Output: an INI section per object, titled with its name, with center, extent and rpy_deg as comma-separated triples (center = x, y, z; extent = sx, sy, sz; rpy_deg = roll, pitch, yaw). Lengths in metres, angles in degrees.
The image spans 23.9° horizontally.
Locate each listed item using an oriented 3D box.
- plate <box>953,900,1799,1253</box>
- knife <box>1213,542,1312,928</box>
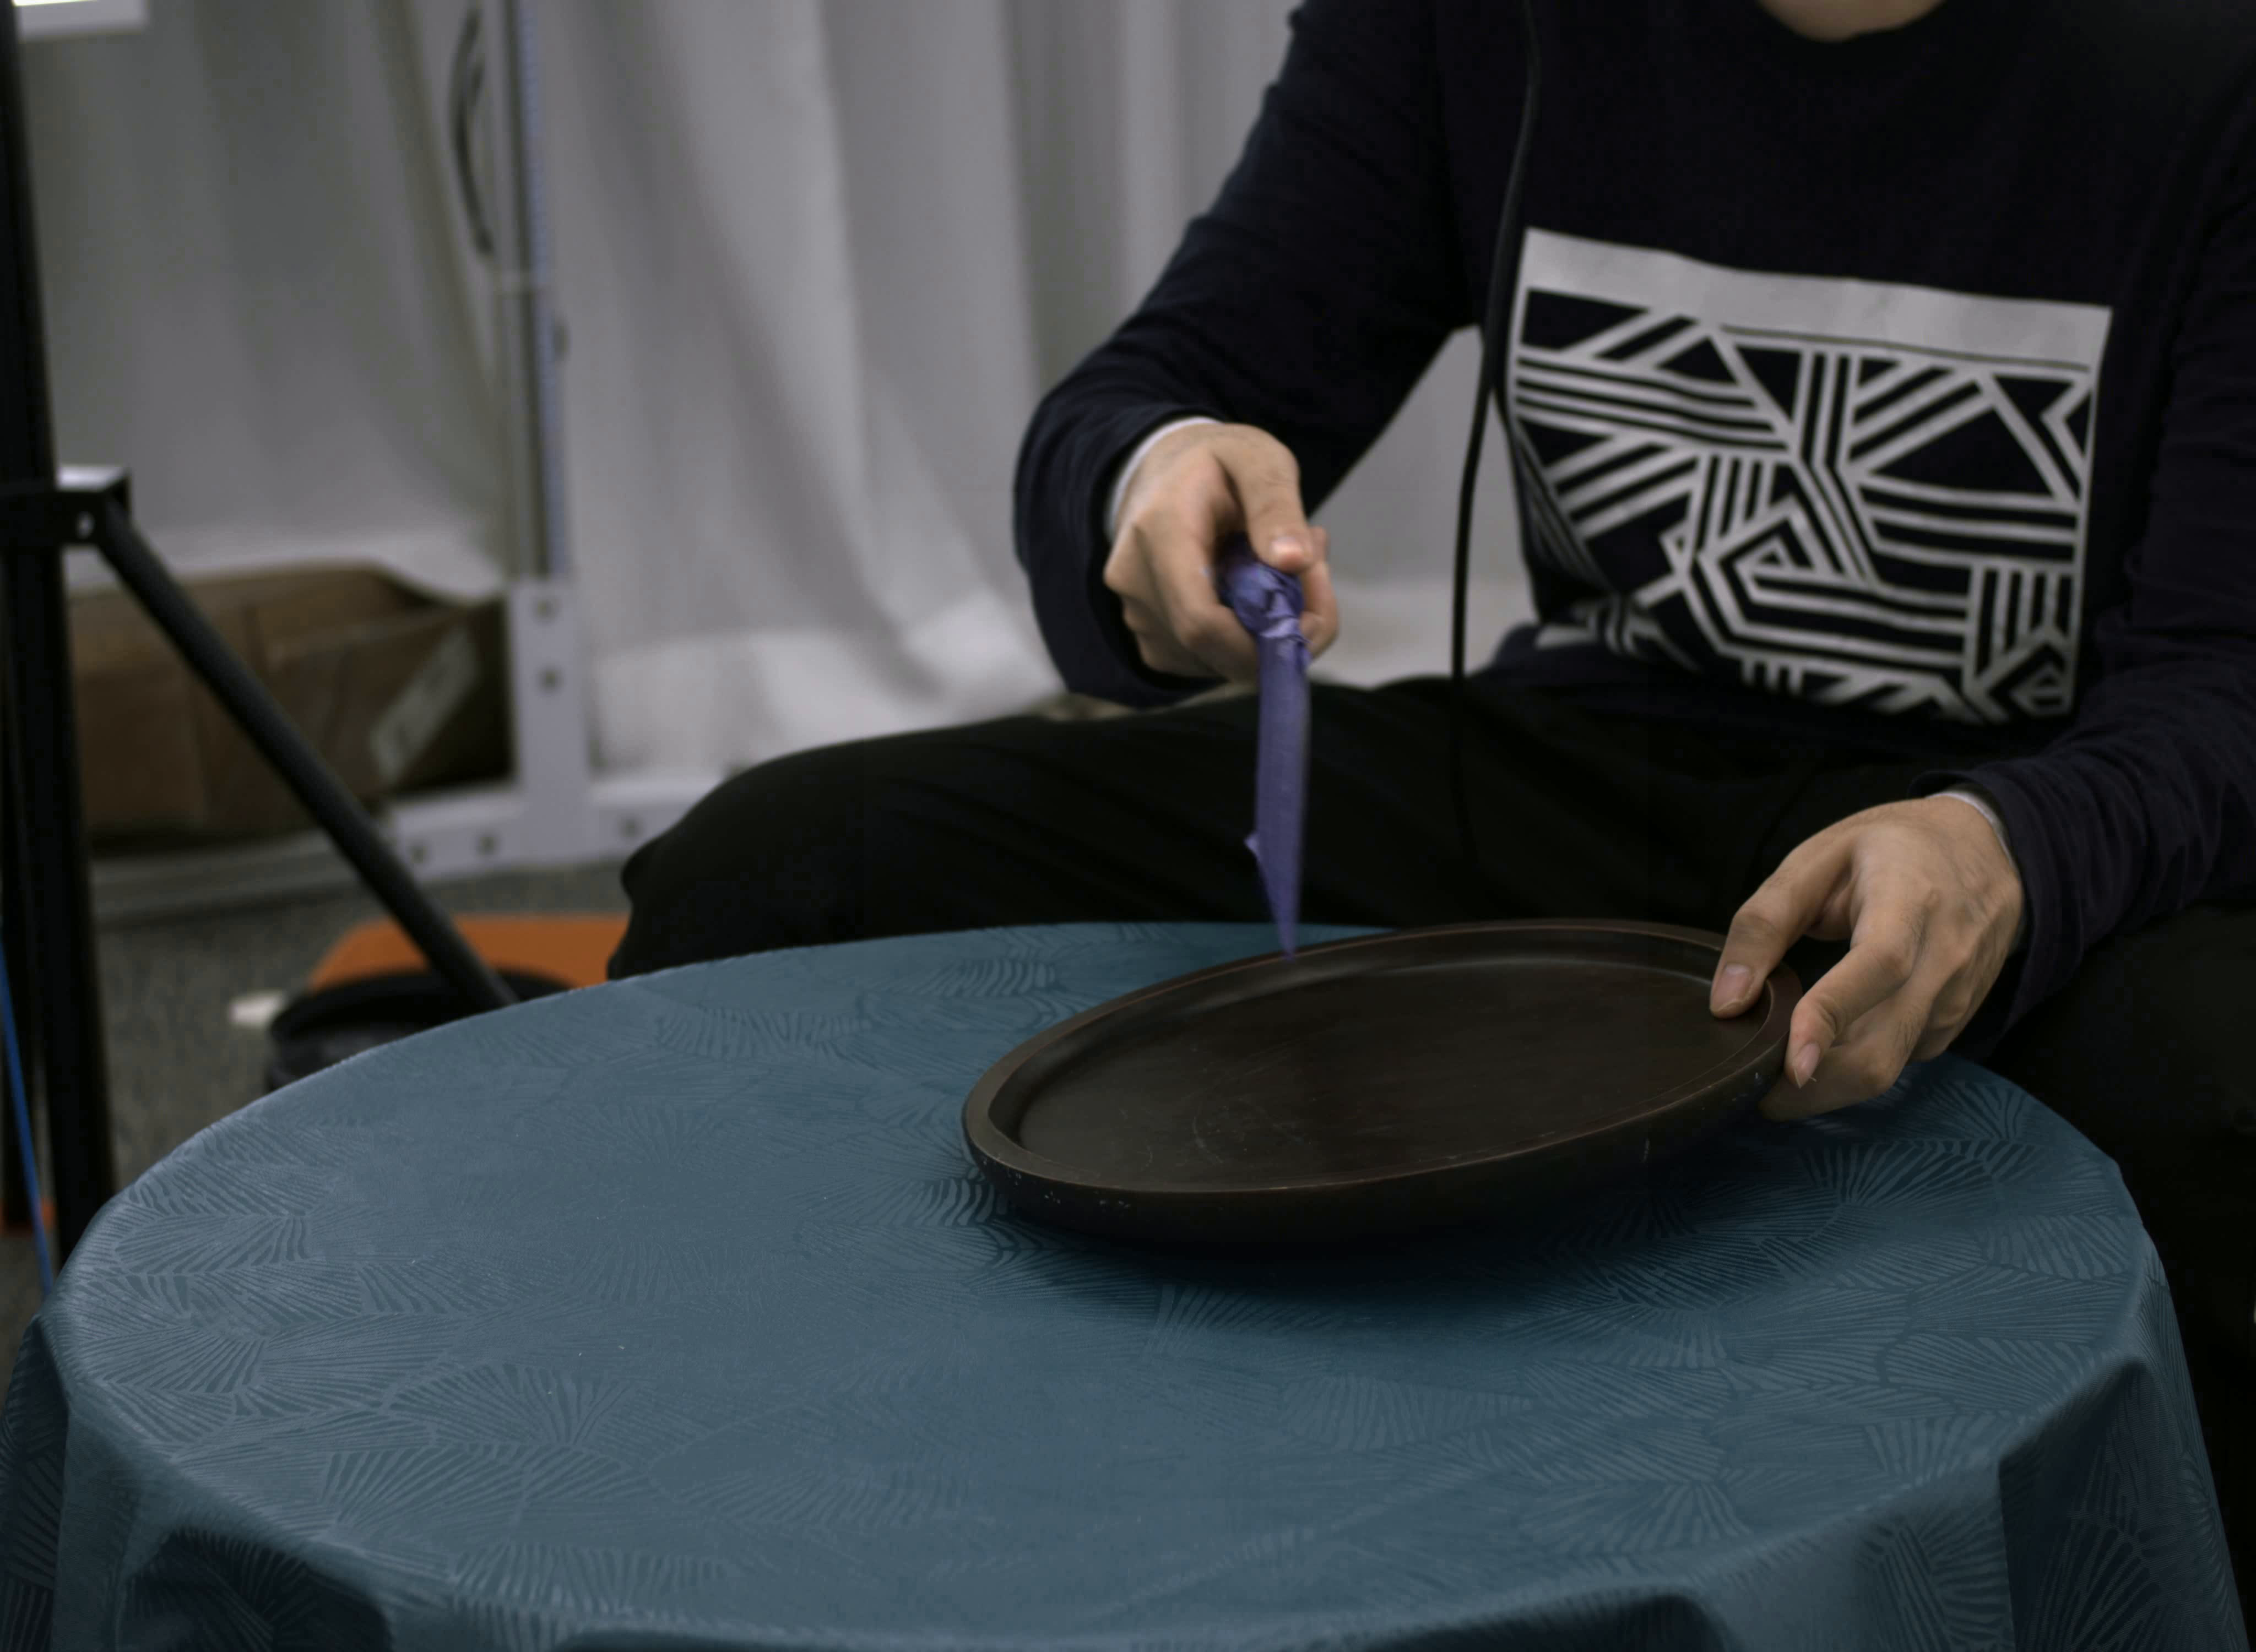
[plate]
center = 0.074, 0.075, 1.572
extent = 0.254, 0.029, 0.256
rpy_deg = -10, 14, 1
[knife]
center = 0.041, -0.030, 1.641
extent = 0.032, 0.104, 0.315
rpy_deg = 4, 8, 0
